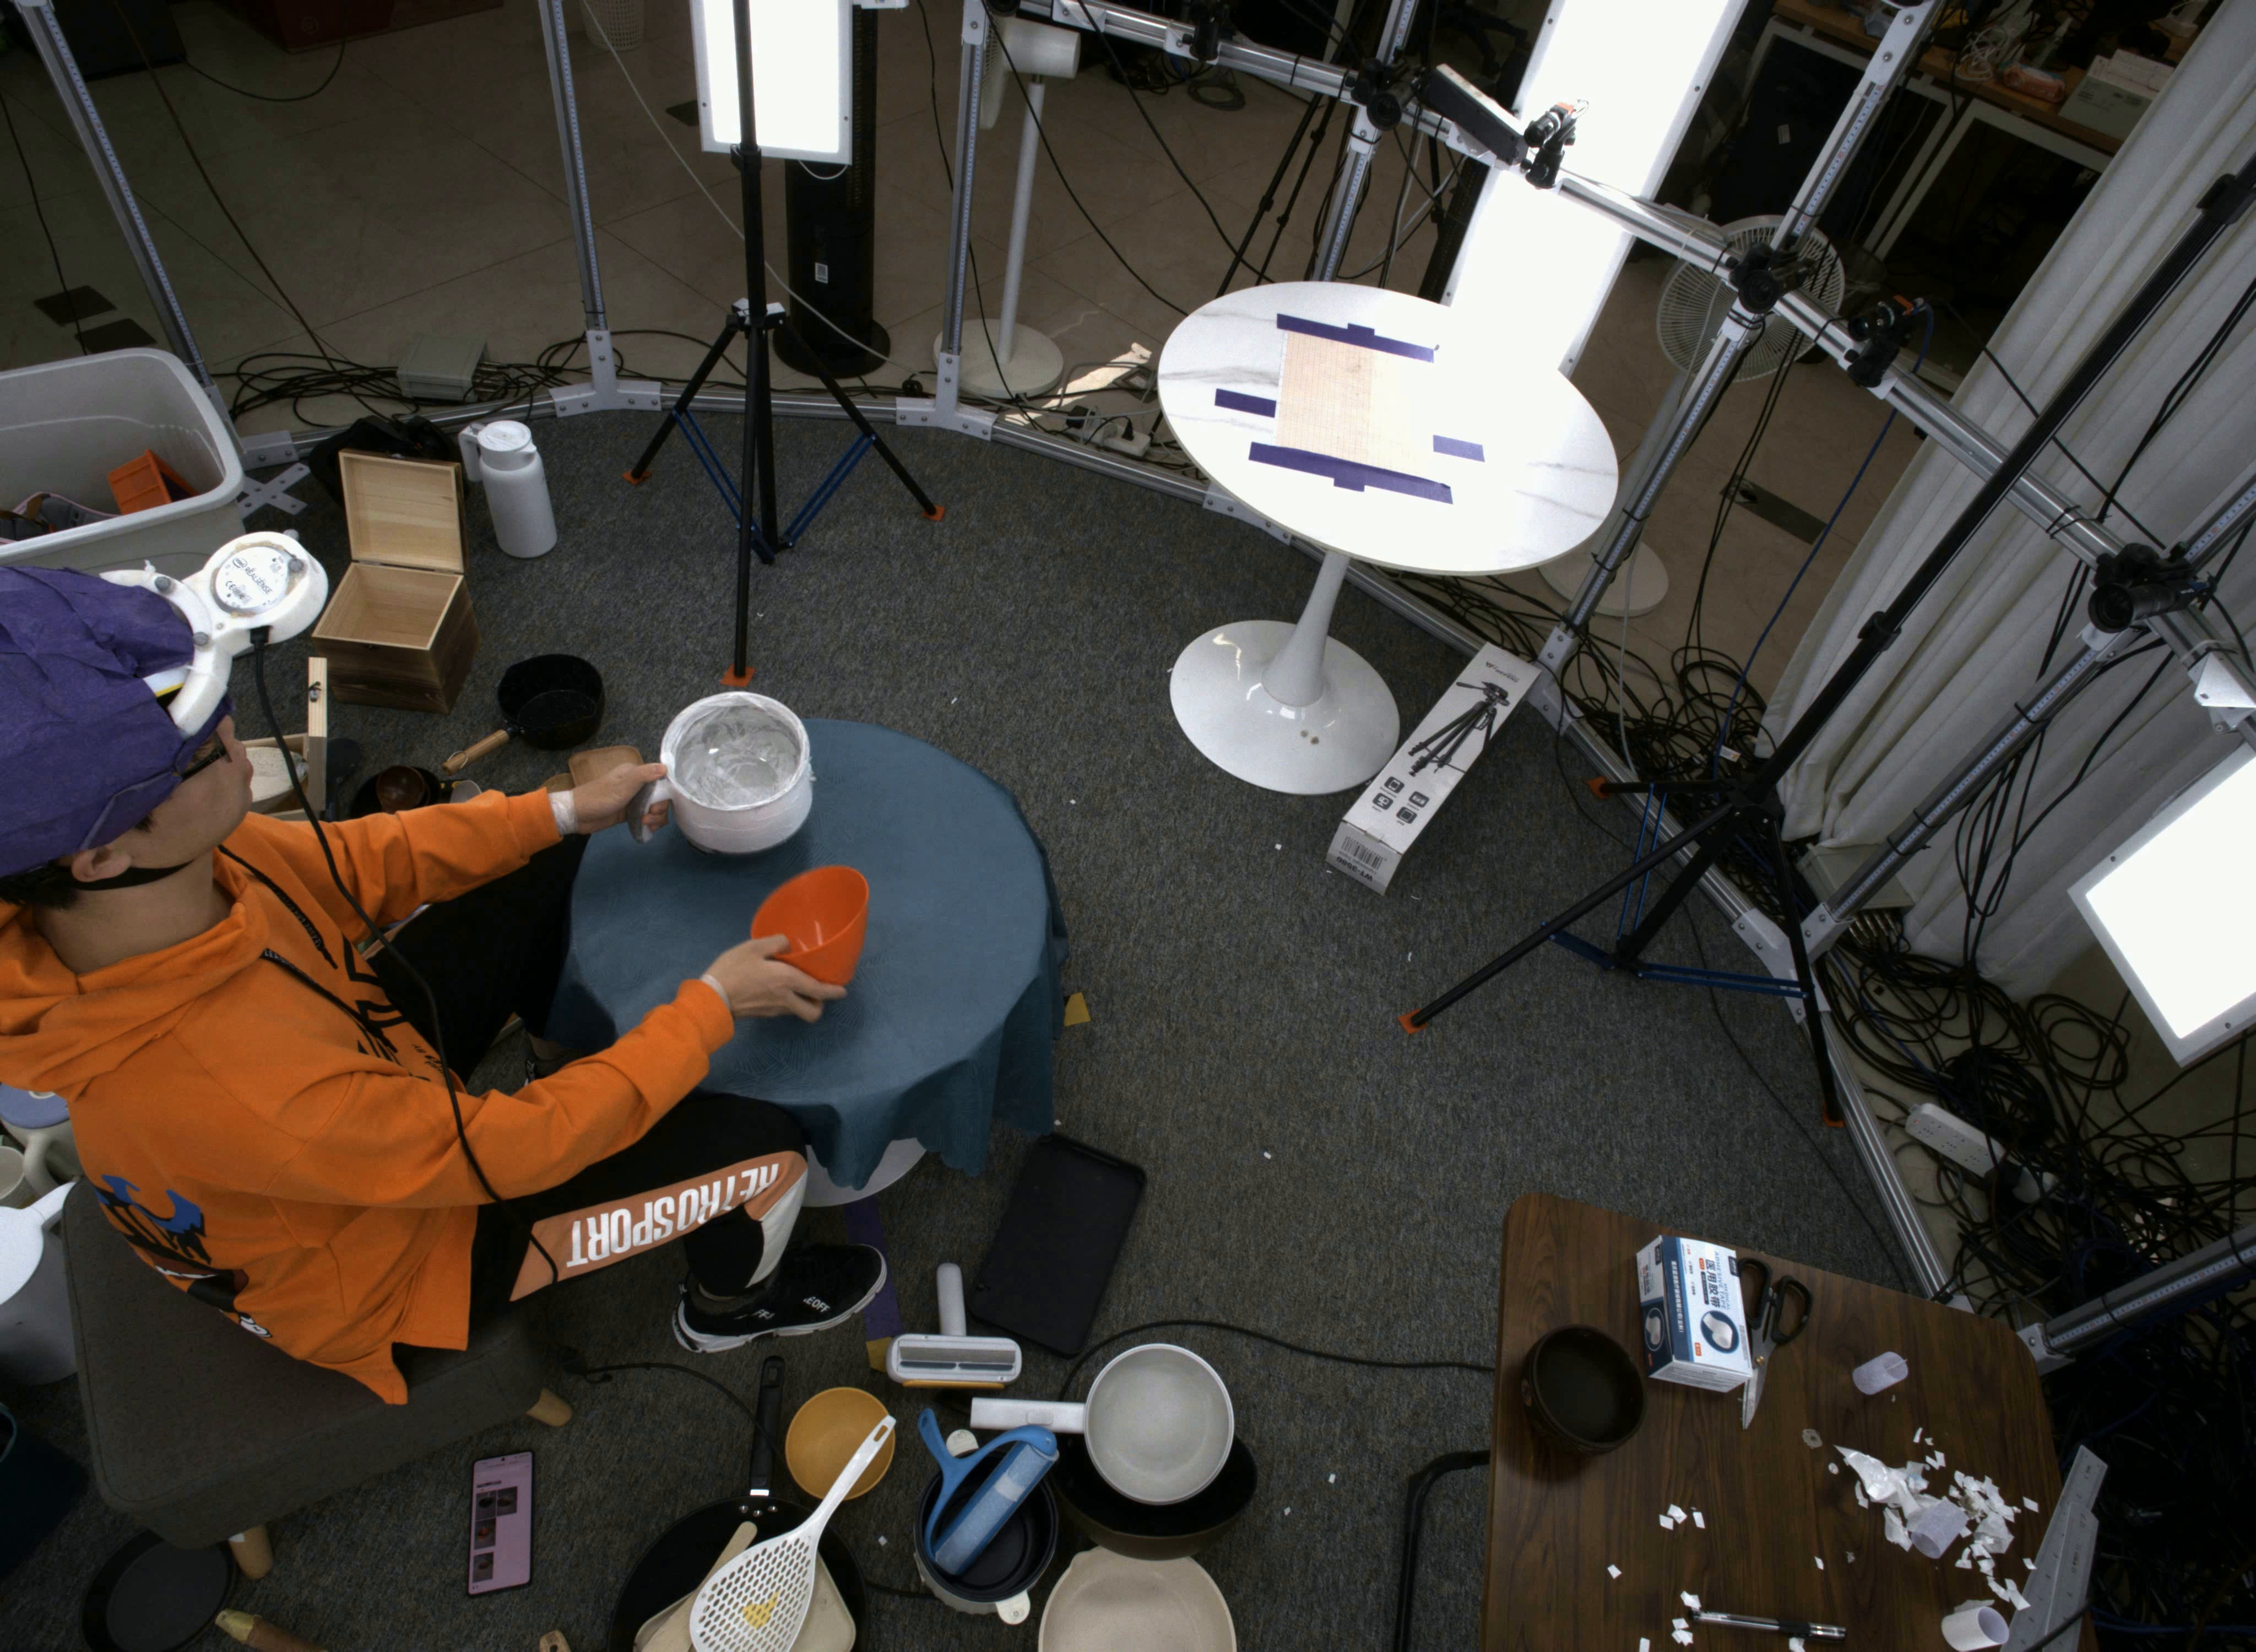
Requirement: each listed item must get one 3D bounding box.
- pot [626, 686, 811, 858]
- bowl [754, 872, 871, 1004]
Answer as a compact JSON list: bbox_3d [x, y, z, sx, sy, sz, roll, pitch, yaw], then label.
[{"bbox_3d":[-0.508,-0.053,1.589,0.234,0.139,0.175,-23,65,-24],"label":"pot"},{"bbox_3d":[-0.357,0.138,1.527,0.145,0.108,0.145,-12,30,9],"label":"bowl"}]
